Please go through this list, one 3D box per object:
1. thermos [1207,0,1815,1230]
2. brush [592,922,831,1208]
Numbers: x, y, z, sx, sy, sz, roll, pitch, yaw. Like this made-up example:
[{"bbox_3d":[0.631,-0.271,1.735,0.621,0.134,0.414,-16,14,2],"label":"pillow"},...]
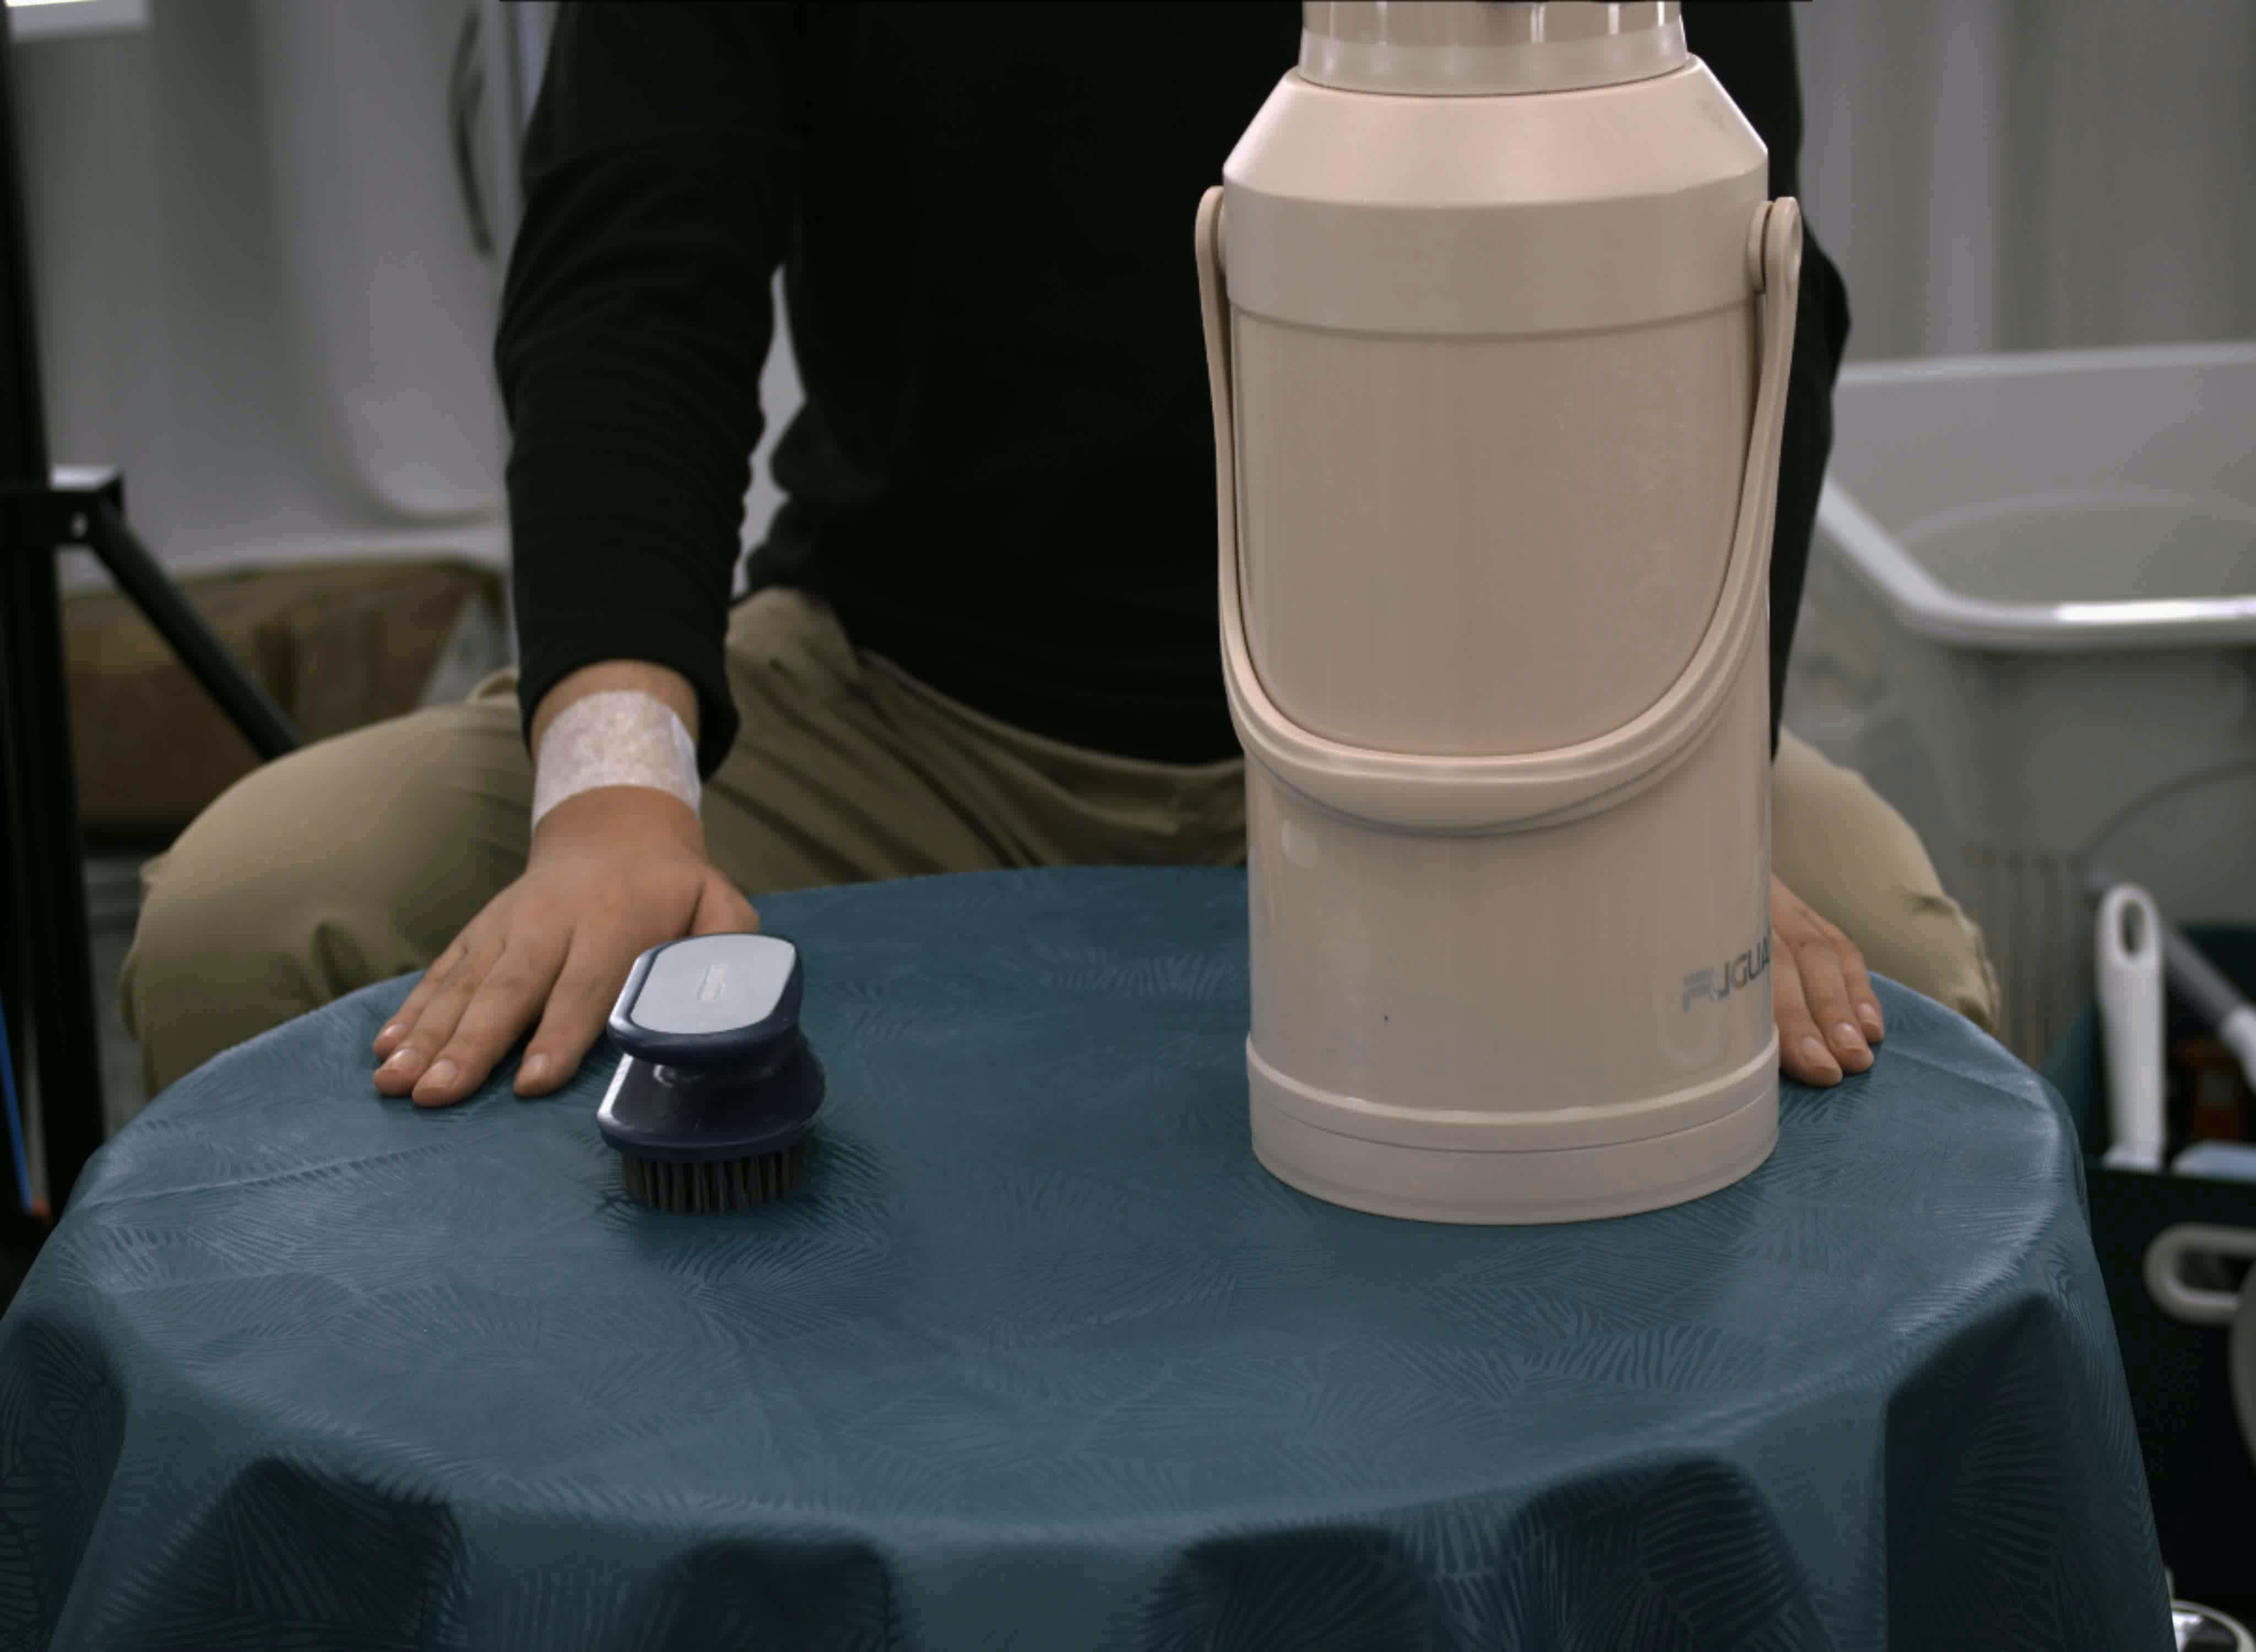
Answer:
[{"bbox_3d":[0.117,-0.101,1.549,0.177,0.406,0.204,2,16,20],"label":"thermos"},{"bbox_3d":[-0.124,0.073,1.600,0.068,0.061,0.121,2,17,5],"label":"brush"}]
